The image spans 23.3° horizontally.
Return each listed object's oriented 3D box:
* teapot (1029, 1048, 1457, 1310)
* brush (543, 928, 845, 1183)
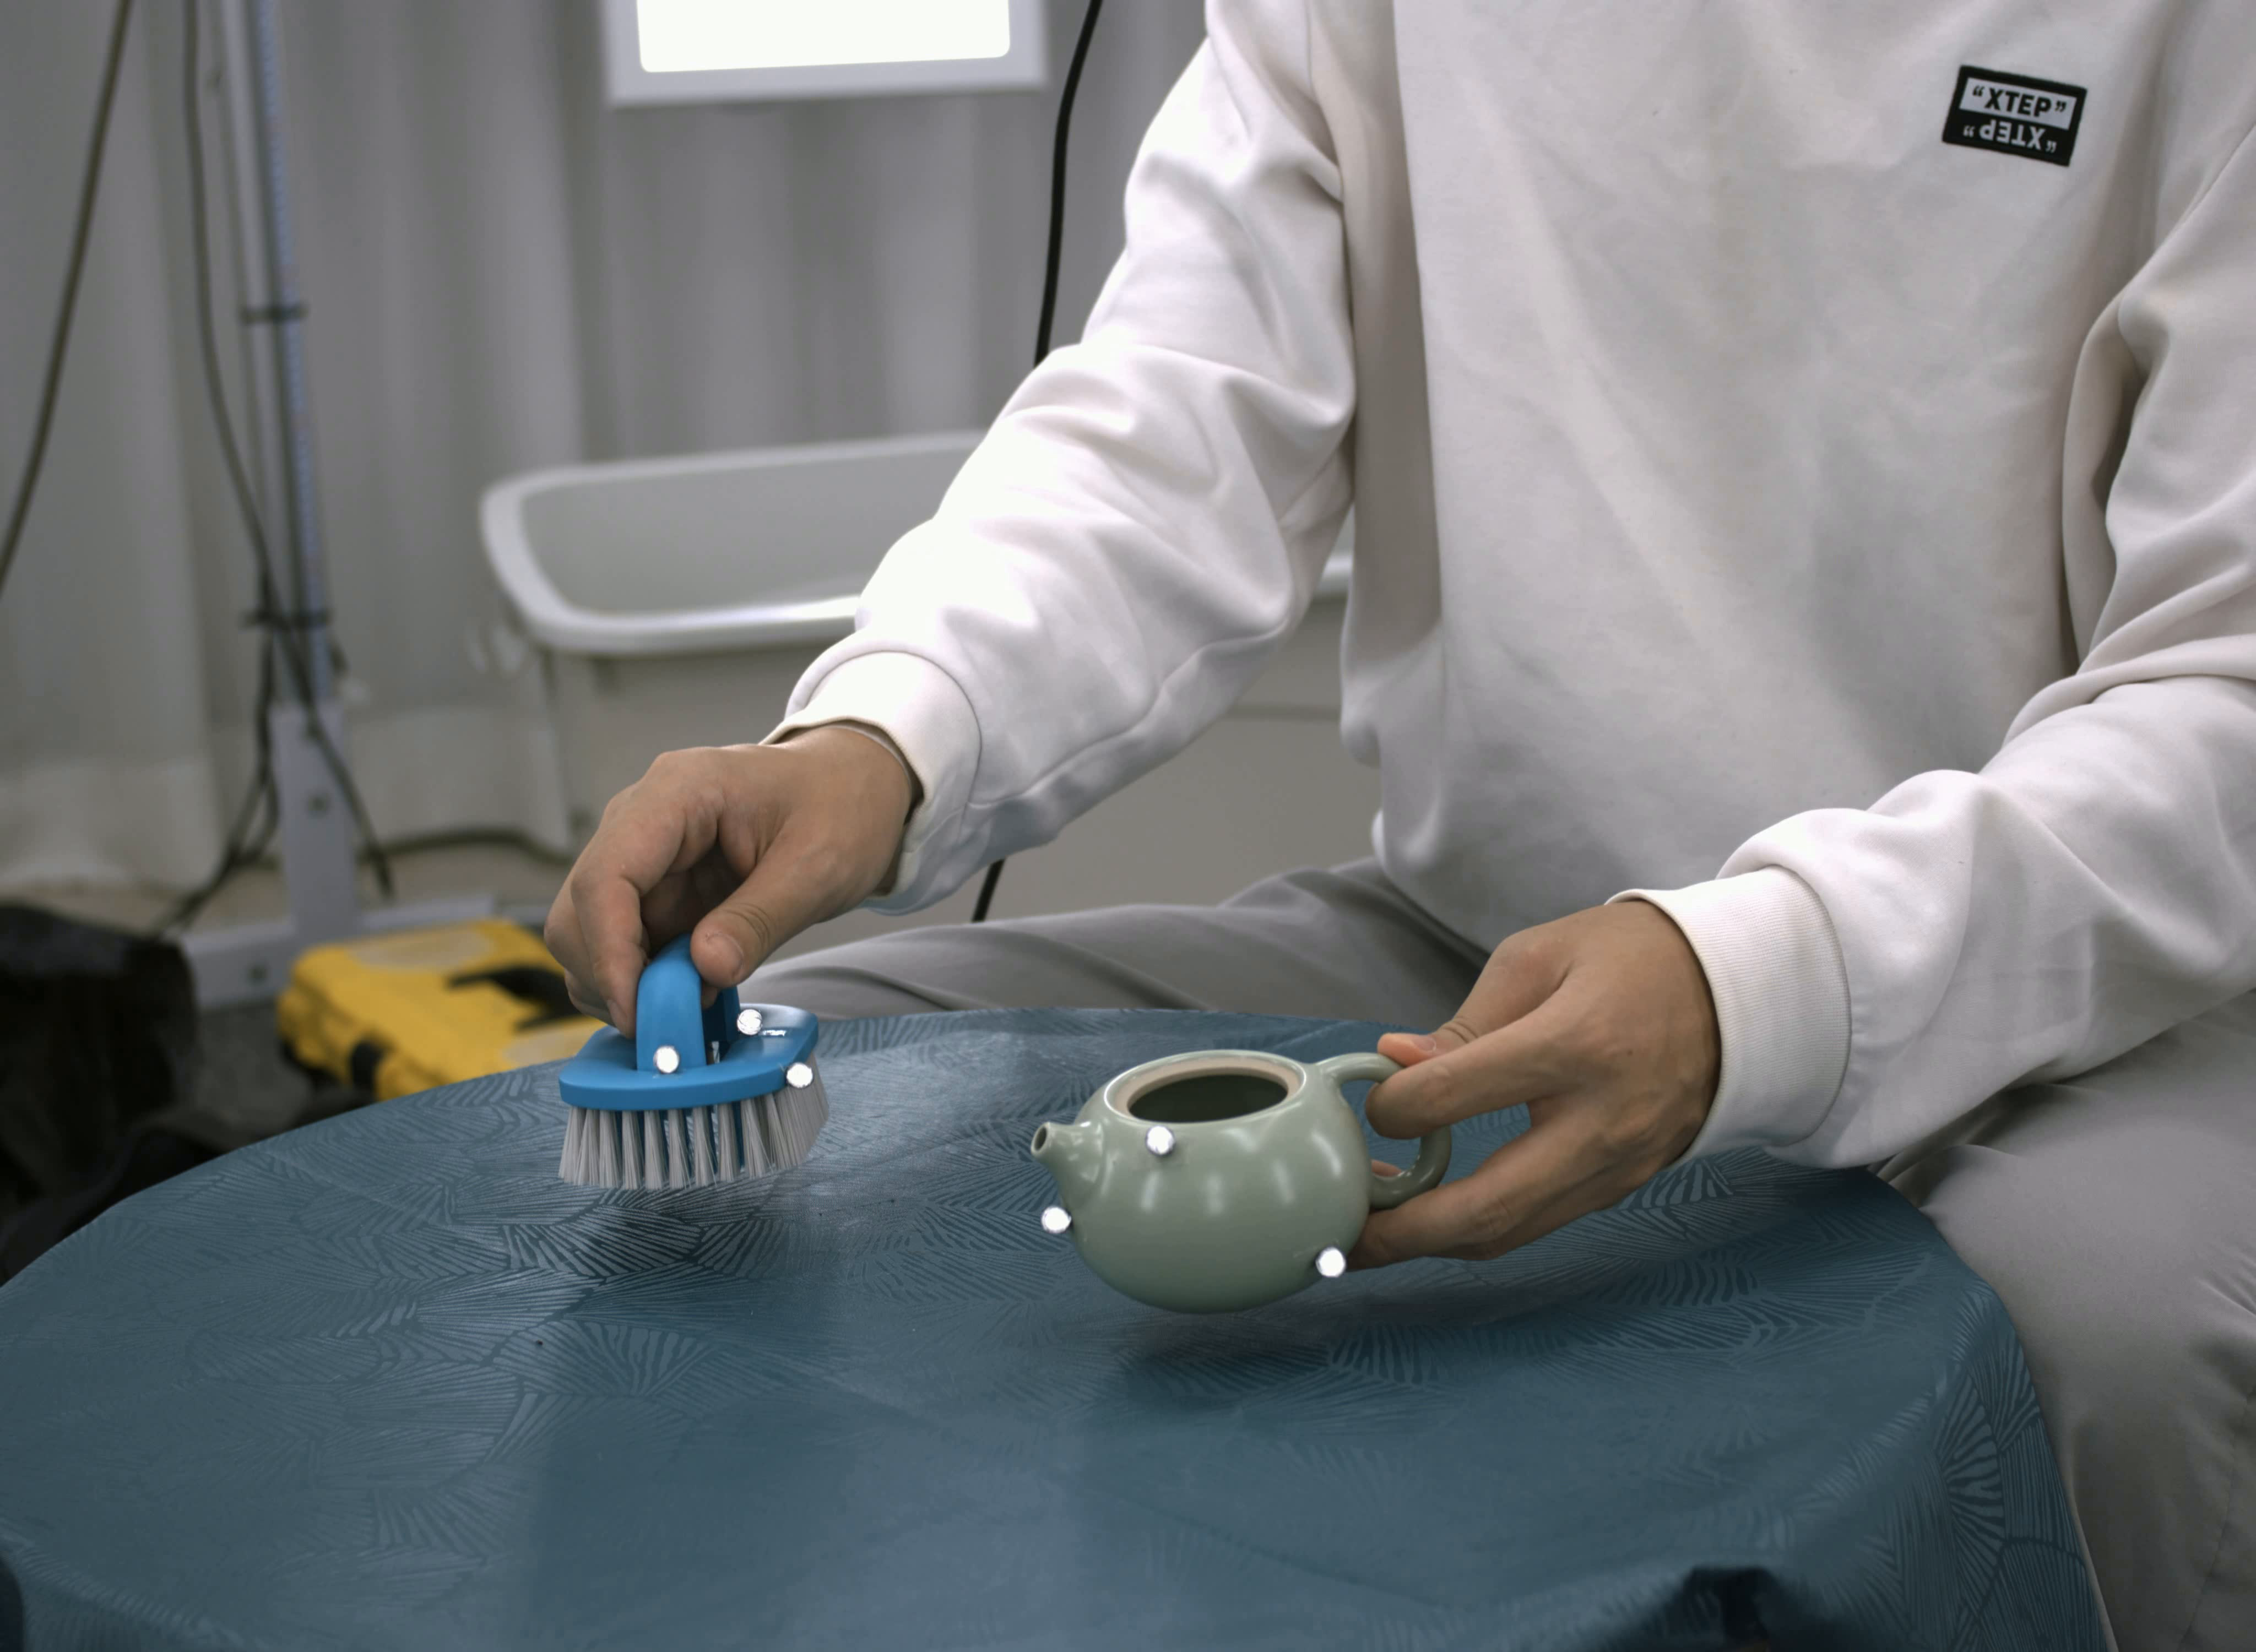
[{"bbox_3d":[0.035,0.101,1.583,0.128,0.061,0.092,-10,15,-14],"label":"teapot"},{"bbox_3d":[-0.137,0.067,1.703,0.084,0.064,0.142,-9,6,4],"label":"brush"}]
